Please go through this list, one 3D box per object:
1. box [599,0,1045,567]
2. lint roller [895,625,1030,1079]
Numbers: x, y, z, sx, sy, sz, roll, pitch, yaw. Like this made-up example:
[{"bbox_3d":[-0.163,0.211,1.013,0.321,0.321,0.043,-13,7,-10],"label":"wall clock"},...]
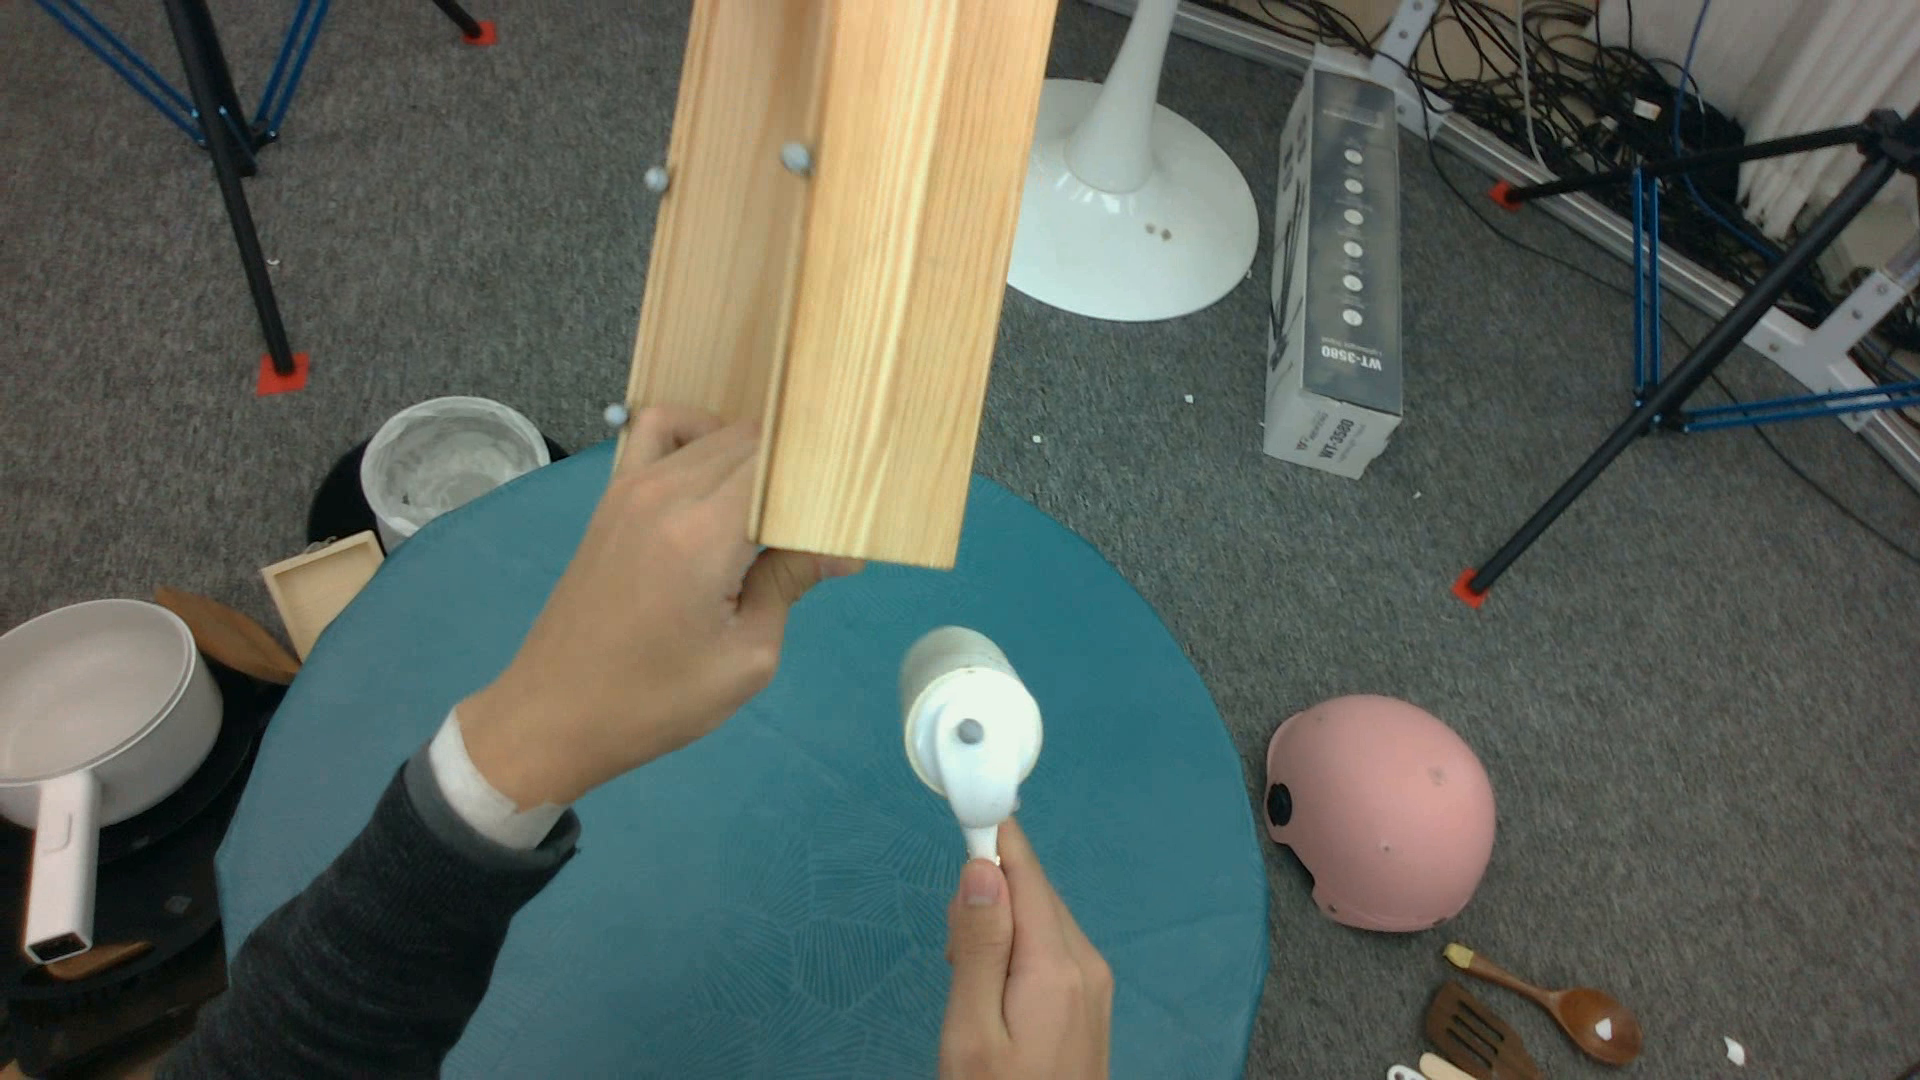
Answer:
[{"bbox_3d":[-0.050,-0.105,0.489,0.080,0.107,0.211,8,92,-45],"label":"box"},{"bbox_3d":[0.015,0.124,0.518,0.050,0.133,0.181,-16,92,-3],"label":"lint roller"}]
